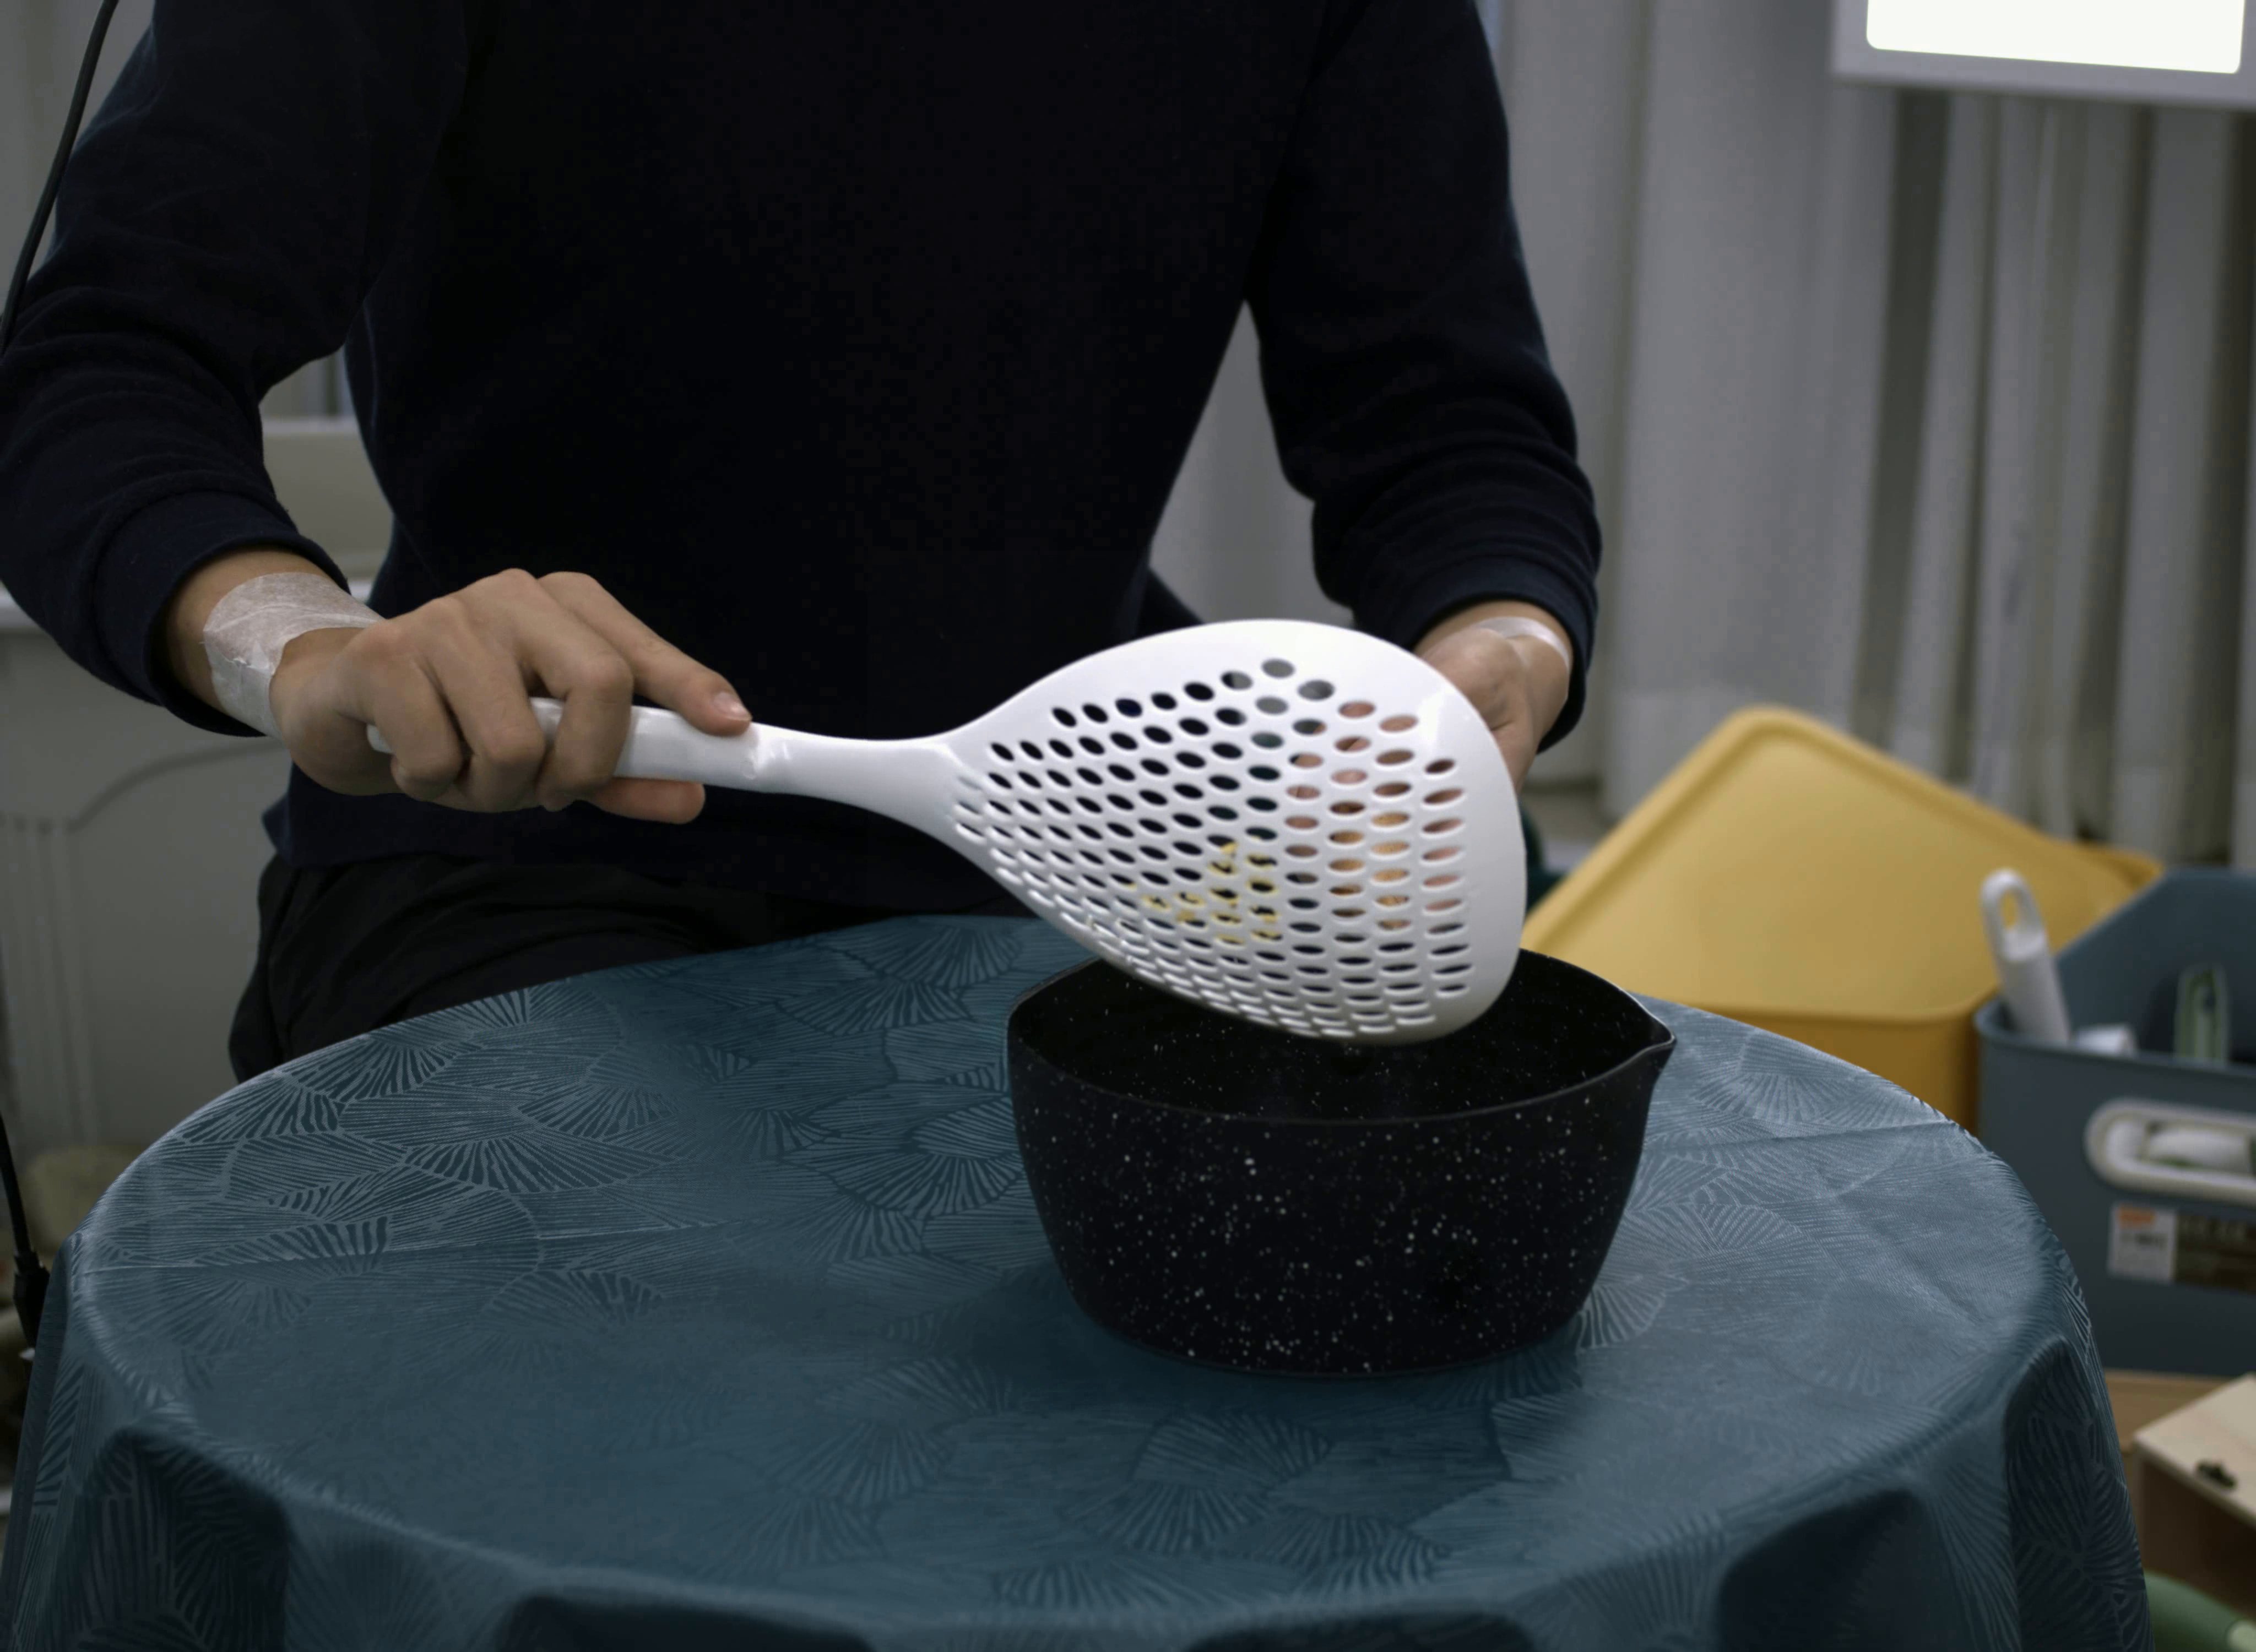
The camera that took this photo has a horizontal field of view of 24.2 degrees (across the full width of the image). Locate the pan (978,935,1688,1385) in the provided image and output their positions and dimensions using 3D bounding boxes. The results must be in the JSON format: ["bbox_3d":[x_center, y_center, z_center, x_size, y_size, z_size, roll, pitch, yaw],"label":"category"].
[{"bbox_3d":[0.065,0.063,1.601,0.206,0.109,0.341,1,17,5],"label":"pan"}]

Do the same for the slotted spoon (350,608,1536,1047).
[{"bbox_3d":[-0.056,-0.009,1.471,0.344,0.138,0.050,11,34,21],"label":"slotted spoon"}]
